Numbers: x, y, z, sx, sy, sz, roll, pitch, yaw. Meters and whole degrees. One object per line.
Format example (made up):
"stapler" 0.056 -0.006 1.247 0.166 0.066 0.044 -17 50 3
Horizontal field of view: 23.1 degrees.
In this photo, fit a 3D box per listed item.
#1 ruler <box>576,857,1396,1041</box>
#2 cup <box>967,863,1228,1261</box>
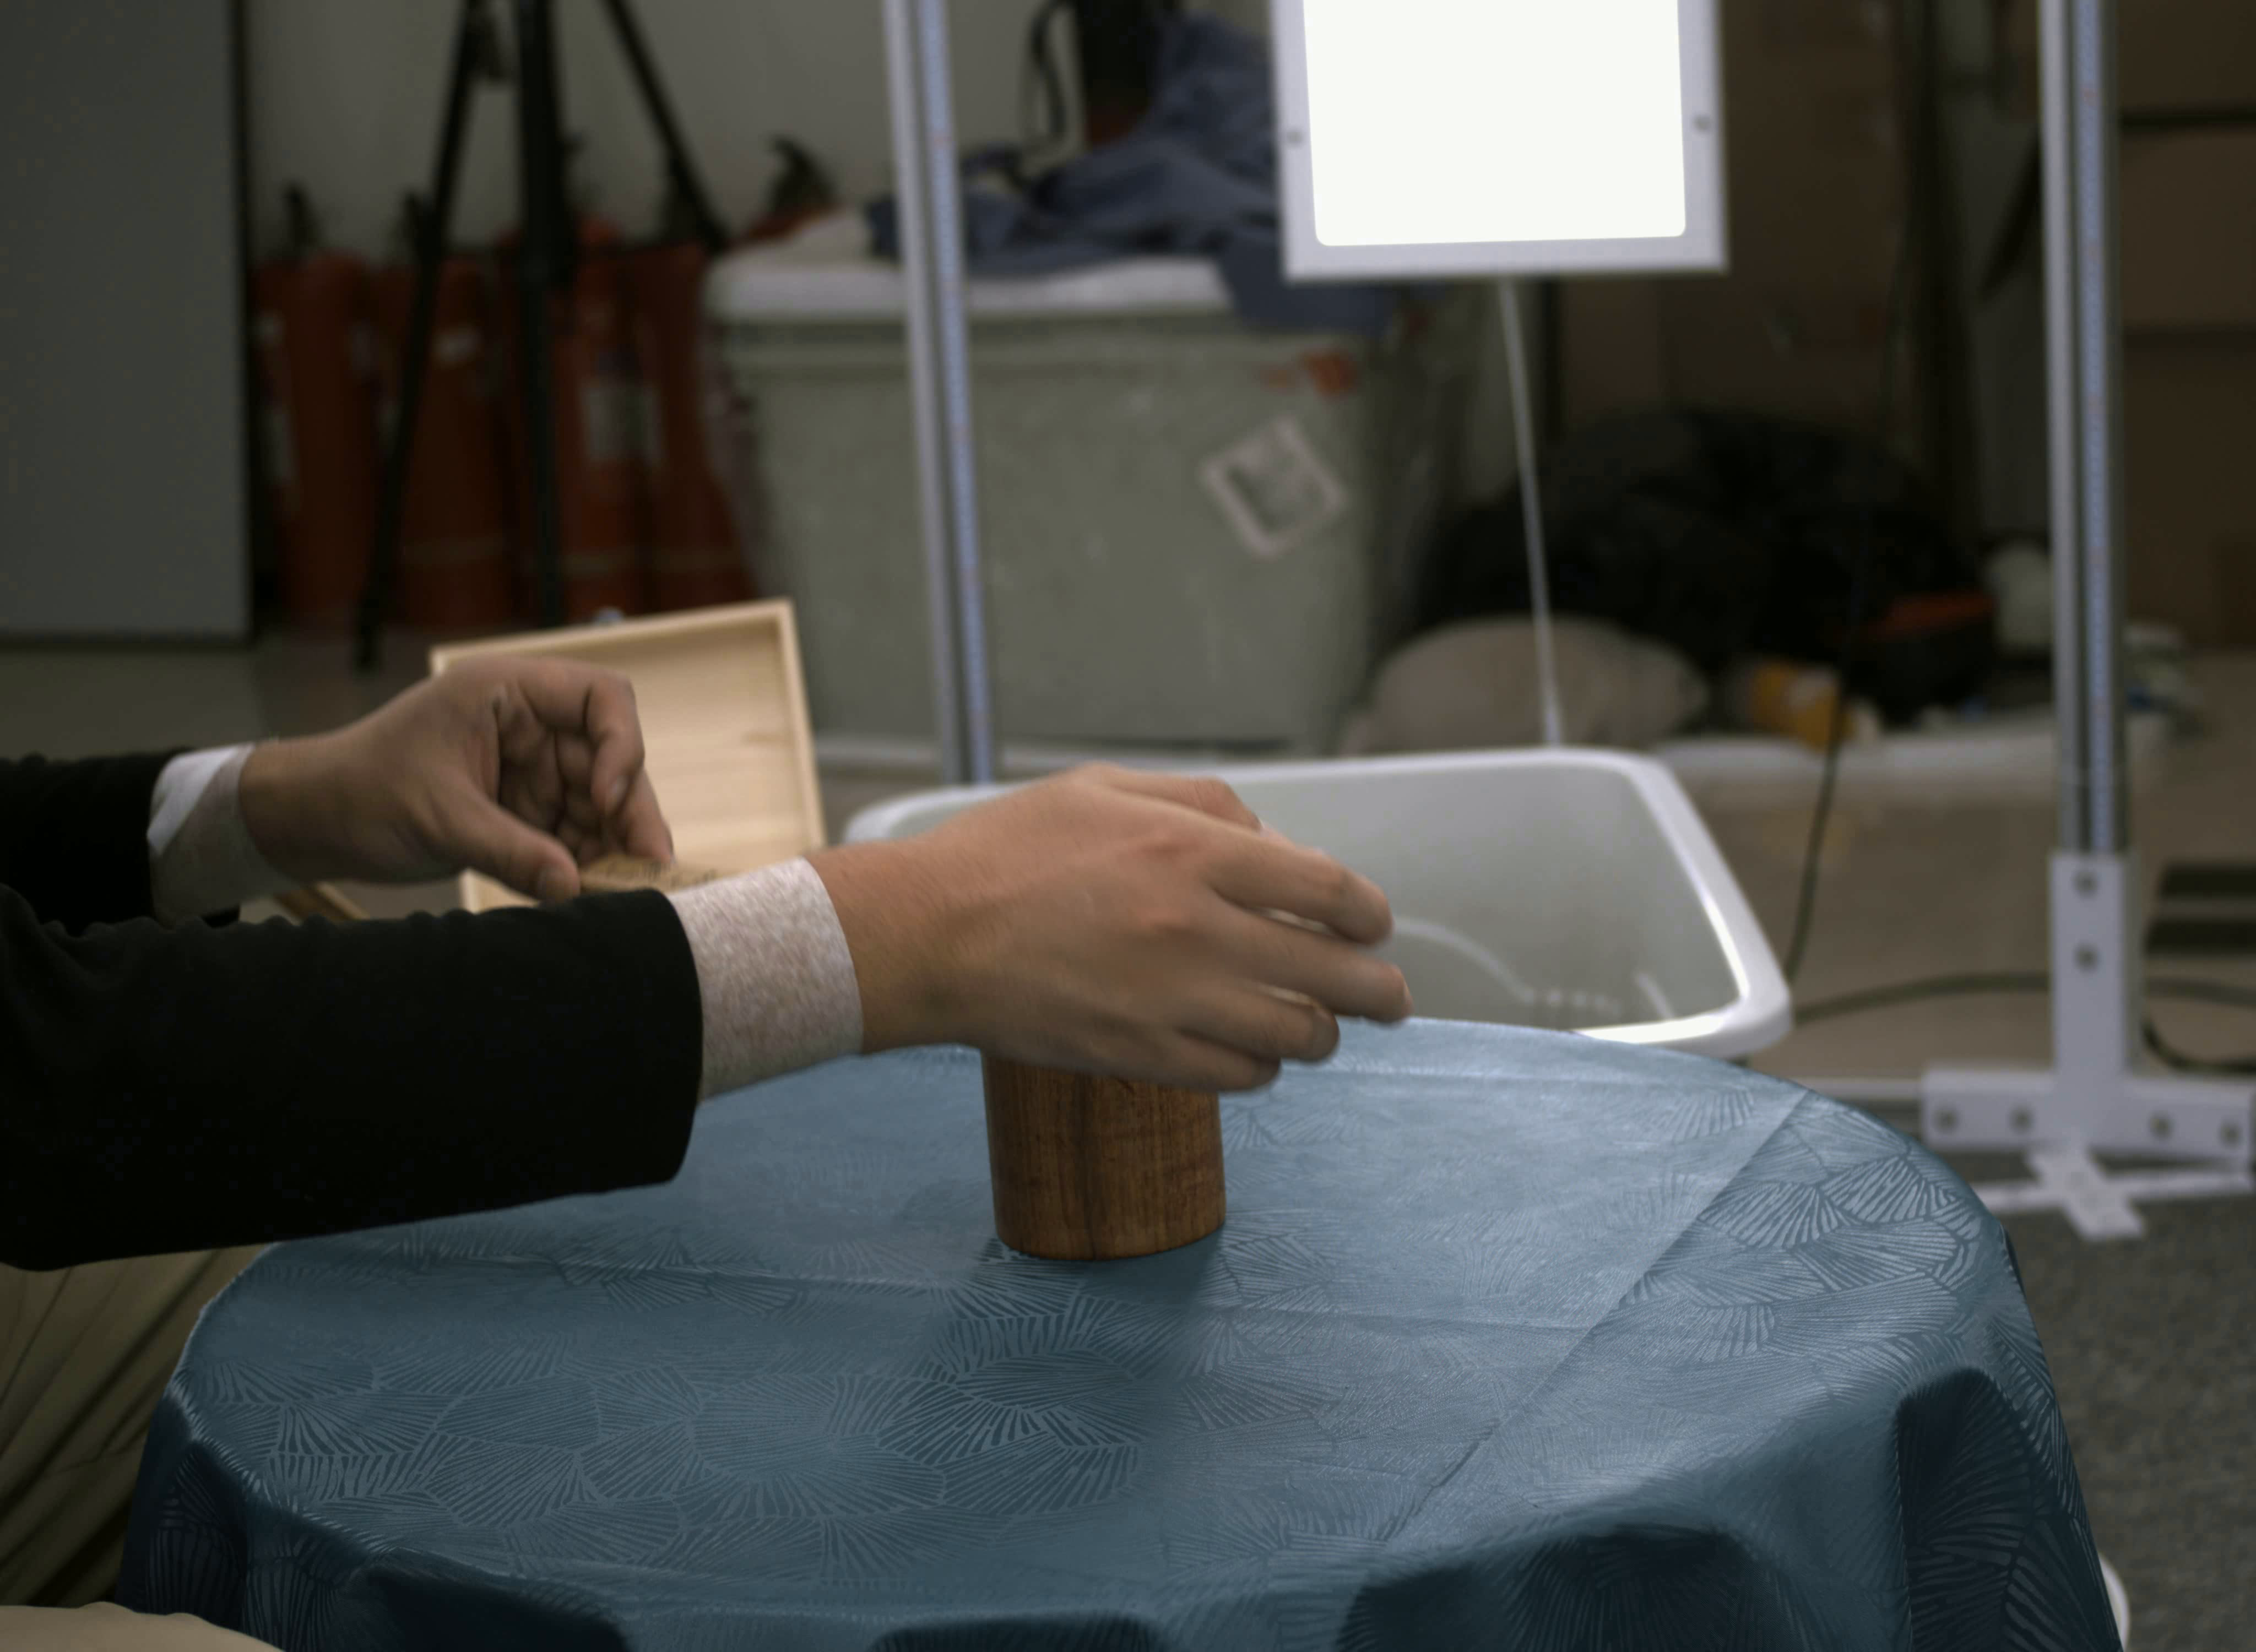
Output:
"ruler" -0.054 0.036 1.766 0.339 0.022 0.027 9 22 41
"cup" -0.009 0.079 1.852 0.087 0.119 0.087 -5 13 0
